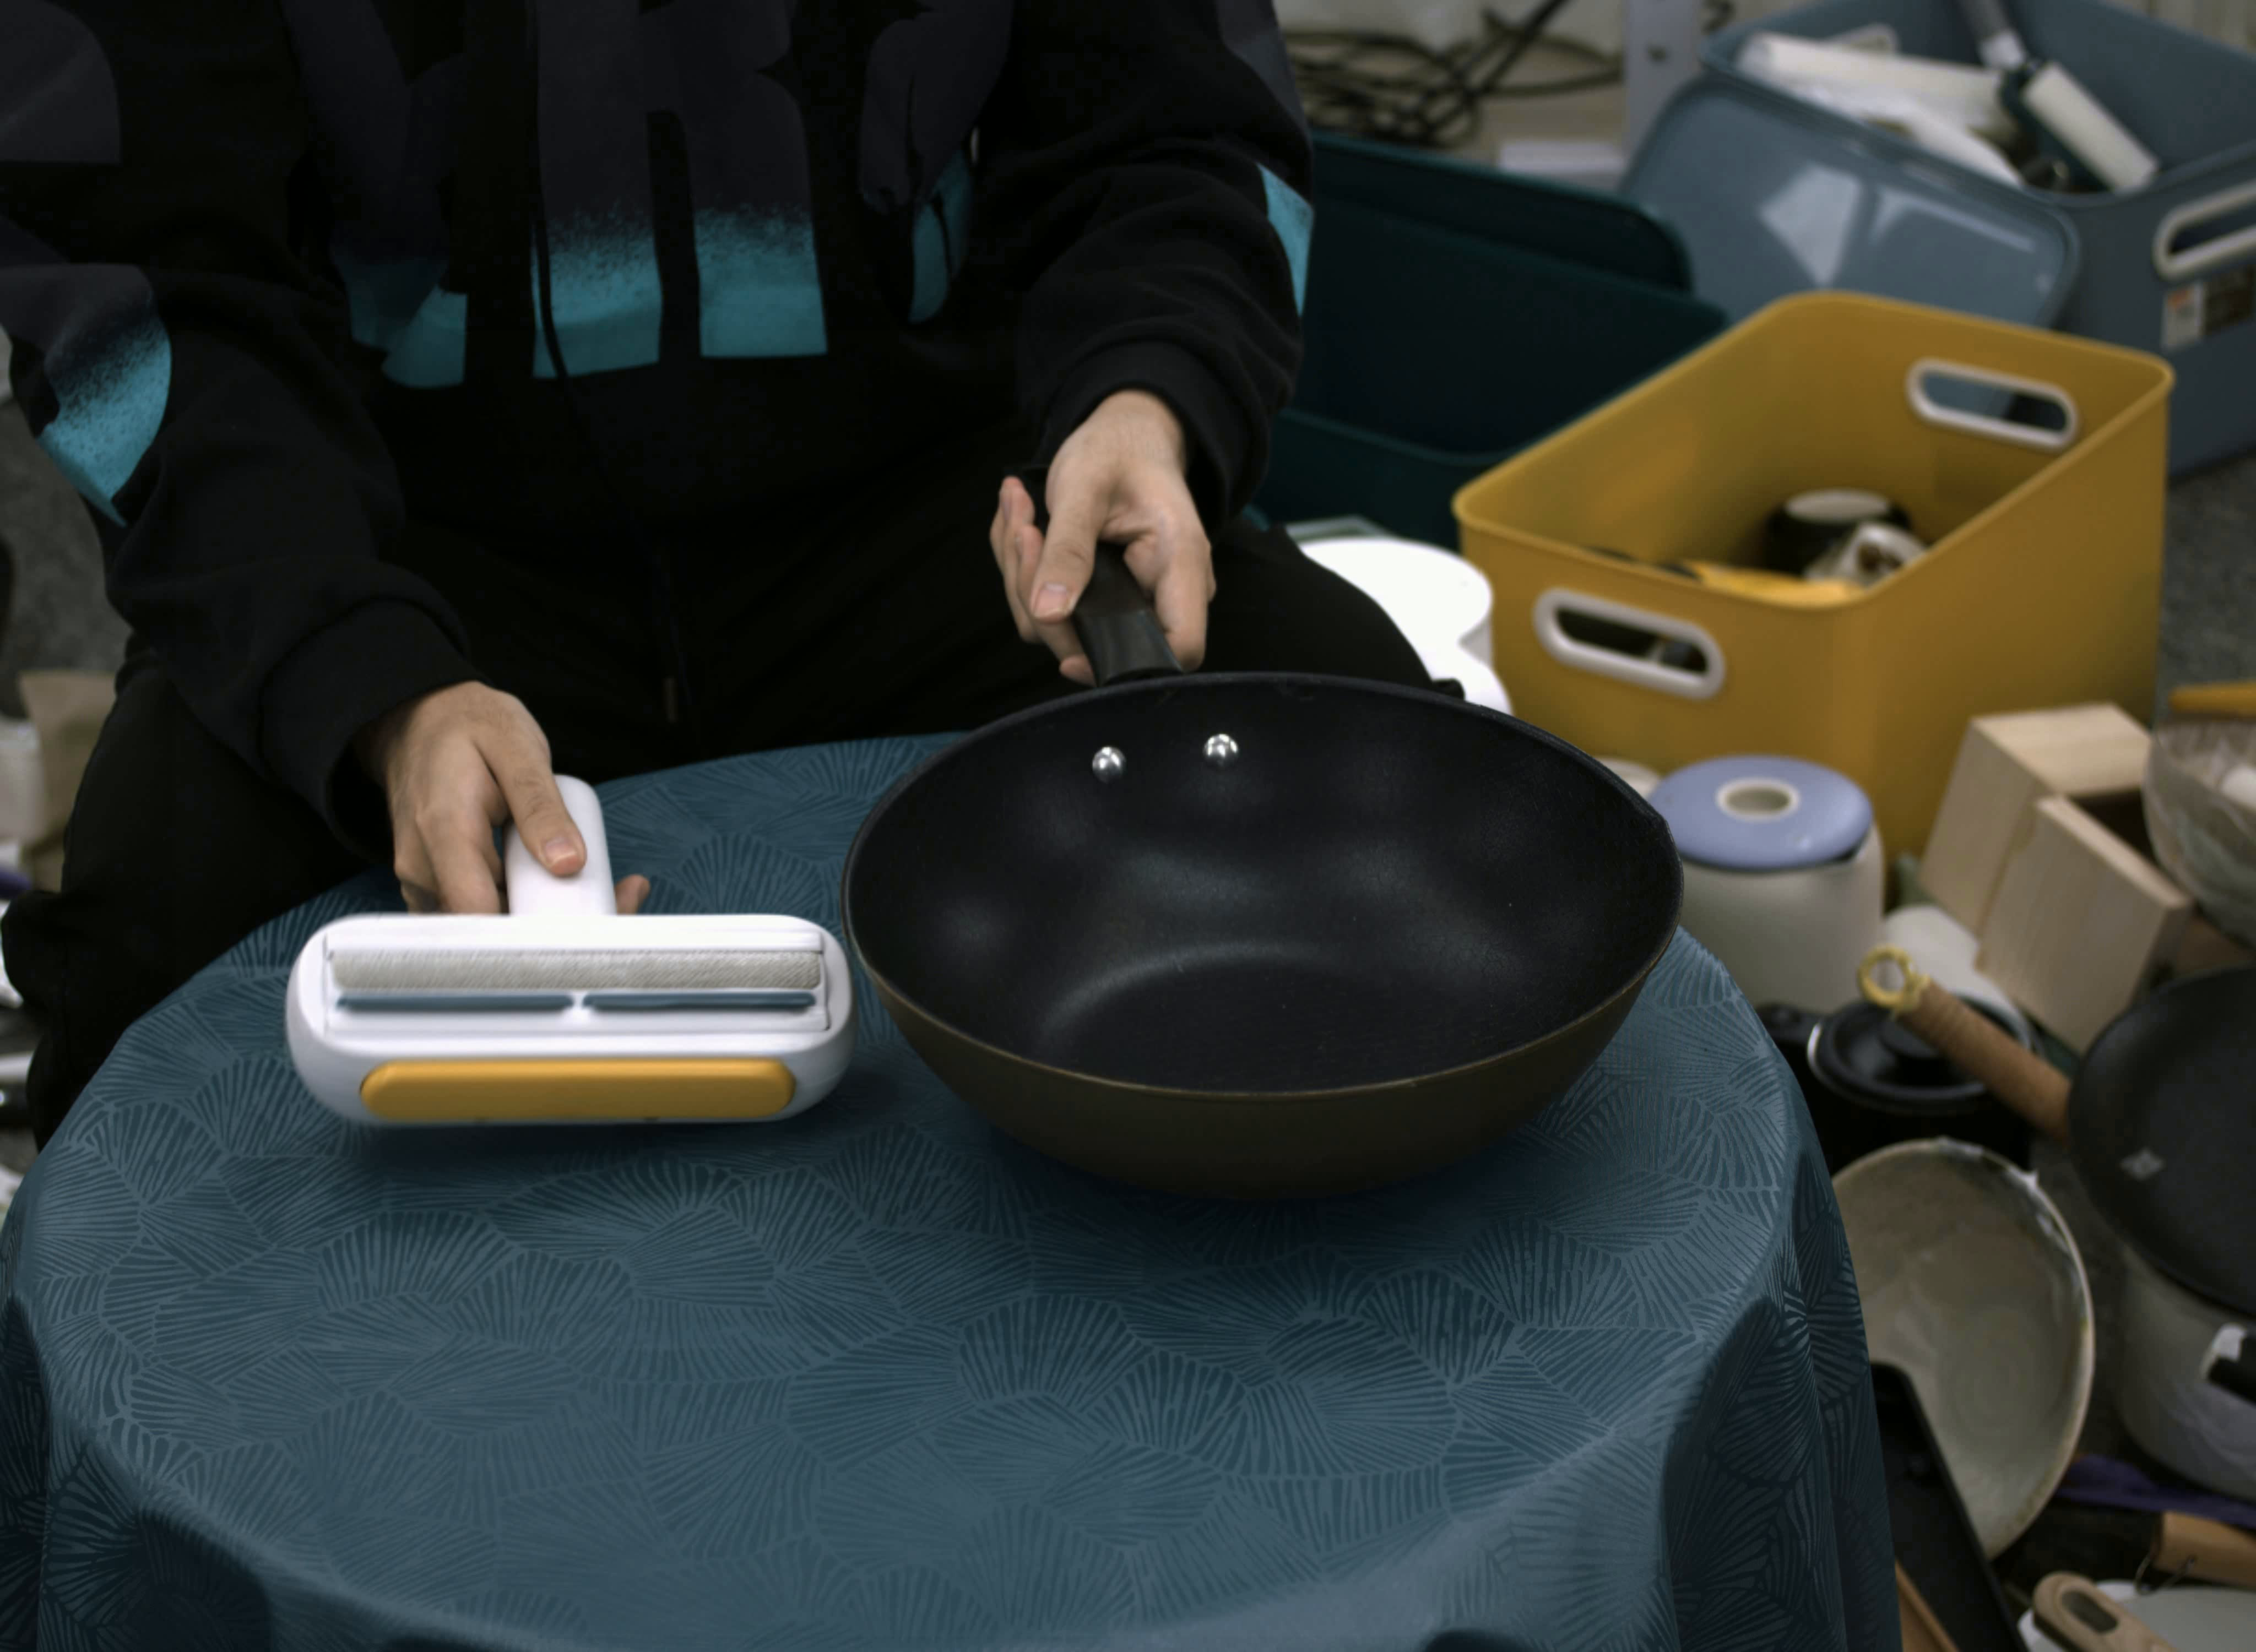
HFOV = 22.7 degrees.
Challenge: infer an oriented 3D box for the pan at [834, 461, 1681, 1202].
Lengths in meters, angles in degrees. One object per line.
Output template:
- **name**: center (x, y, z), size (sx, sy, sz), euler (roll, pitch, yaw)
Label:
- **pan**: center (0.020, 0.004, 1.975), size (0.288, 0.086, 0.469), euler (-7, 30, -13)

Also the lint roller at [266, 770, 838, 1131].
- **lint roller**: center (-0.199, 0.032, 1.947), size (0.192, 0.073, 0.196), euler (1, 39, -7)
